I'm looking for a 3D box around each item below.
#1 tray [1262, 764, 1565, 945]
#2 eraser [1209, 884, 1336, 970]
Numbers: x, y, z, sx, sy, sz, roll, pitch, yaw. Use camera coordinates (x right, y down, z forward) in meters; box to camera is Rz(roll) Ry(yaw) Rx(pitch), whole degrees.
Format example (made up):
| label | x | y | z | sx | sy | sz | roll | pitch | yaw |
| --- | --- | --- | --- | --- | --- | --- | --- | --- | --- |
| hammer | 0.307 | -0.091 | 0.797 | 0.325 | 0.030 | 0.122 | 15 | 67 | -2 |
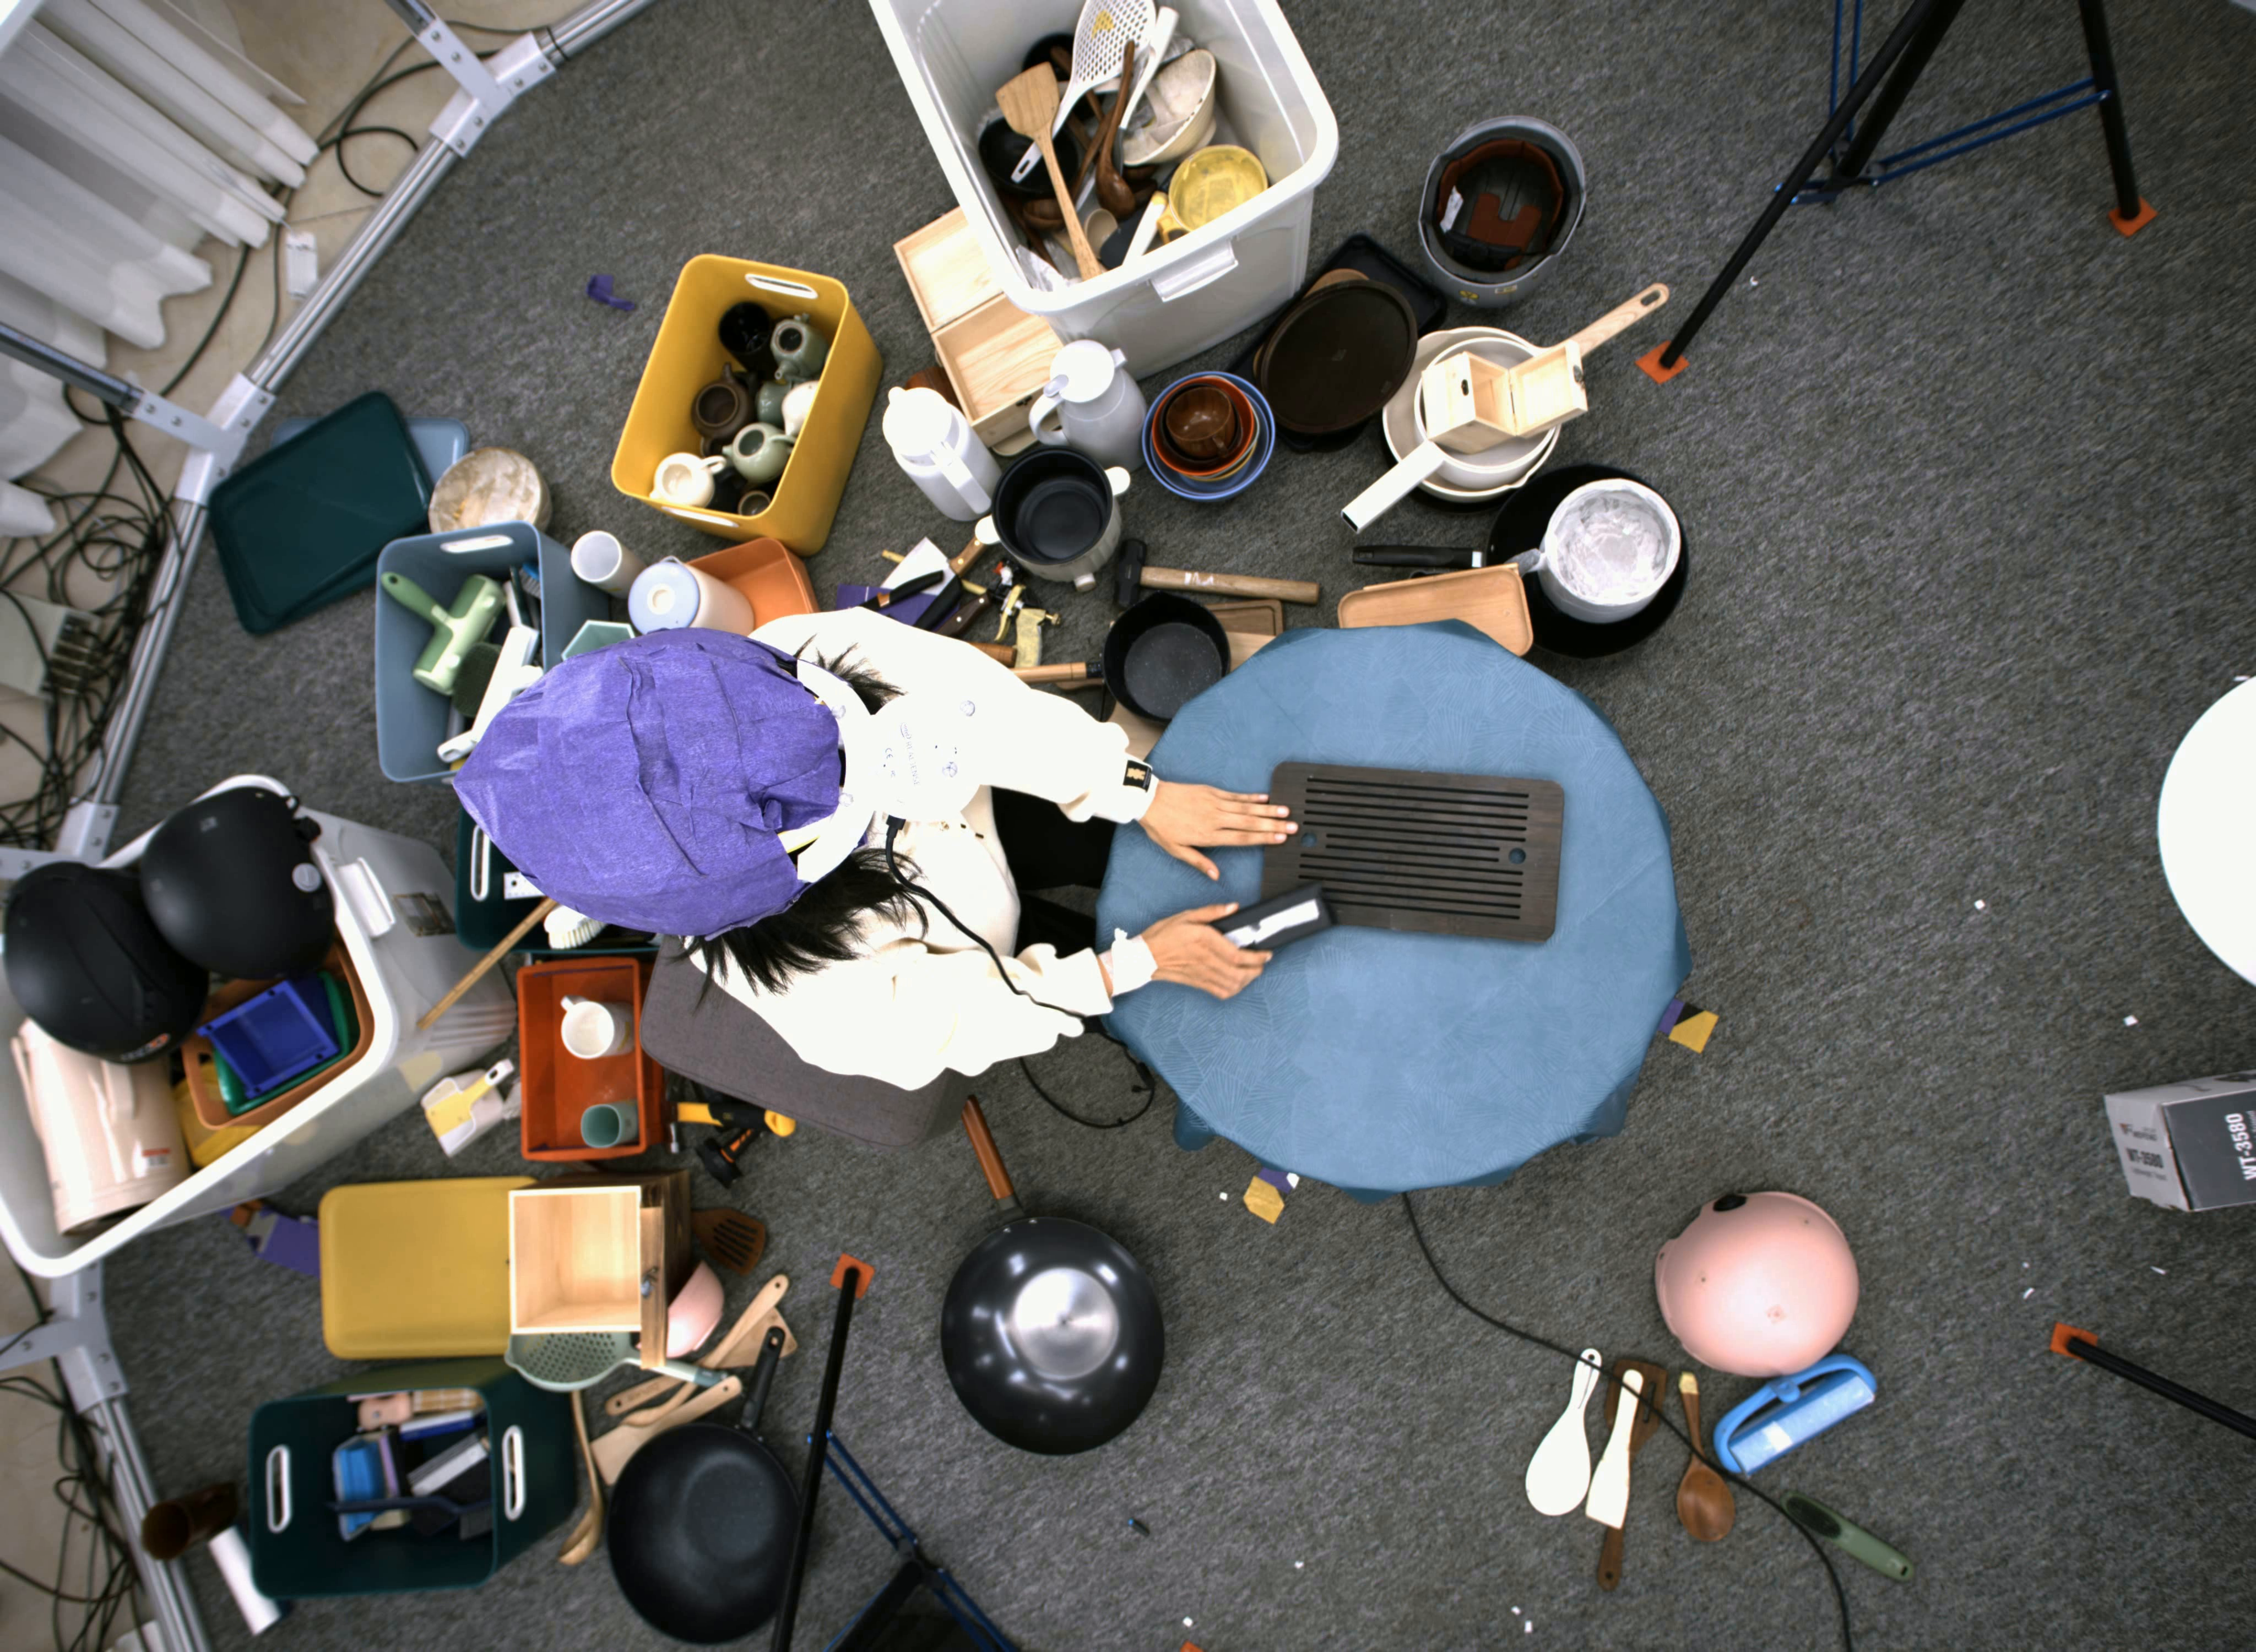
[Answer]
| label | x | y | z | sx | sy | sz | roll | pitch | yaw |
| --- | --- | --- | --- | --- | --- | --- | --- | --- | --- |
| tray | 0.298 | 0.027 | 1.448 | 0.307 | 0.018 | 0.169 | 4 | 87 | 11 |
| eraser | 0.151 | 0.104 | 1.442 | 0.127 | 0.030 | 0.053 | -22 | 88 | 20 |
